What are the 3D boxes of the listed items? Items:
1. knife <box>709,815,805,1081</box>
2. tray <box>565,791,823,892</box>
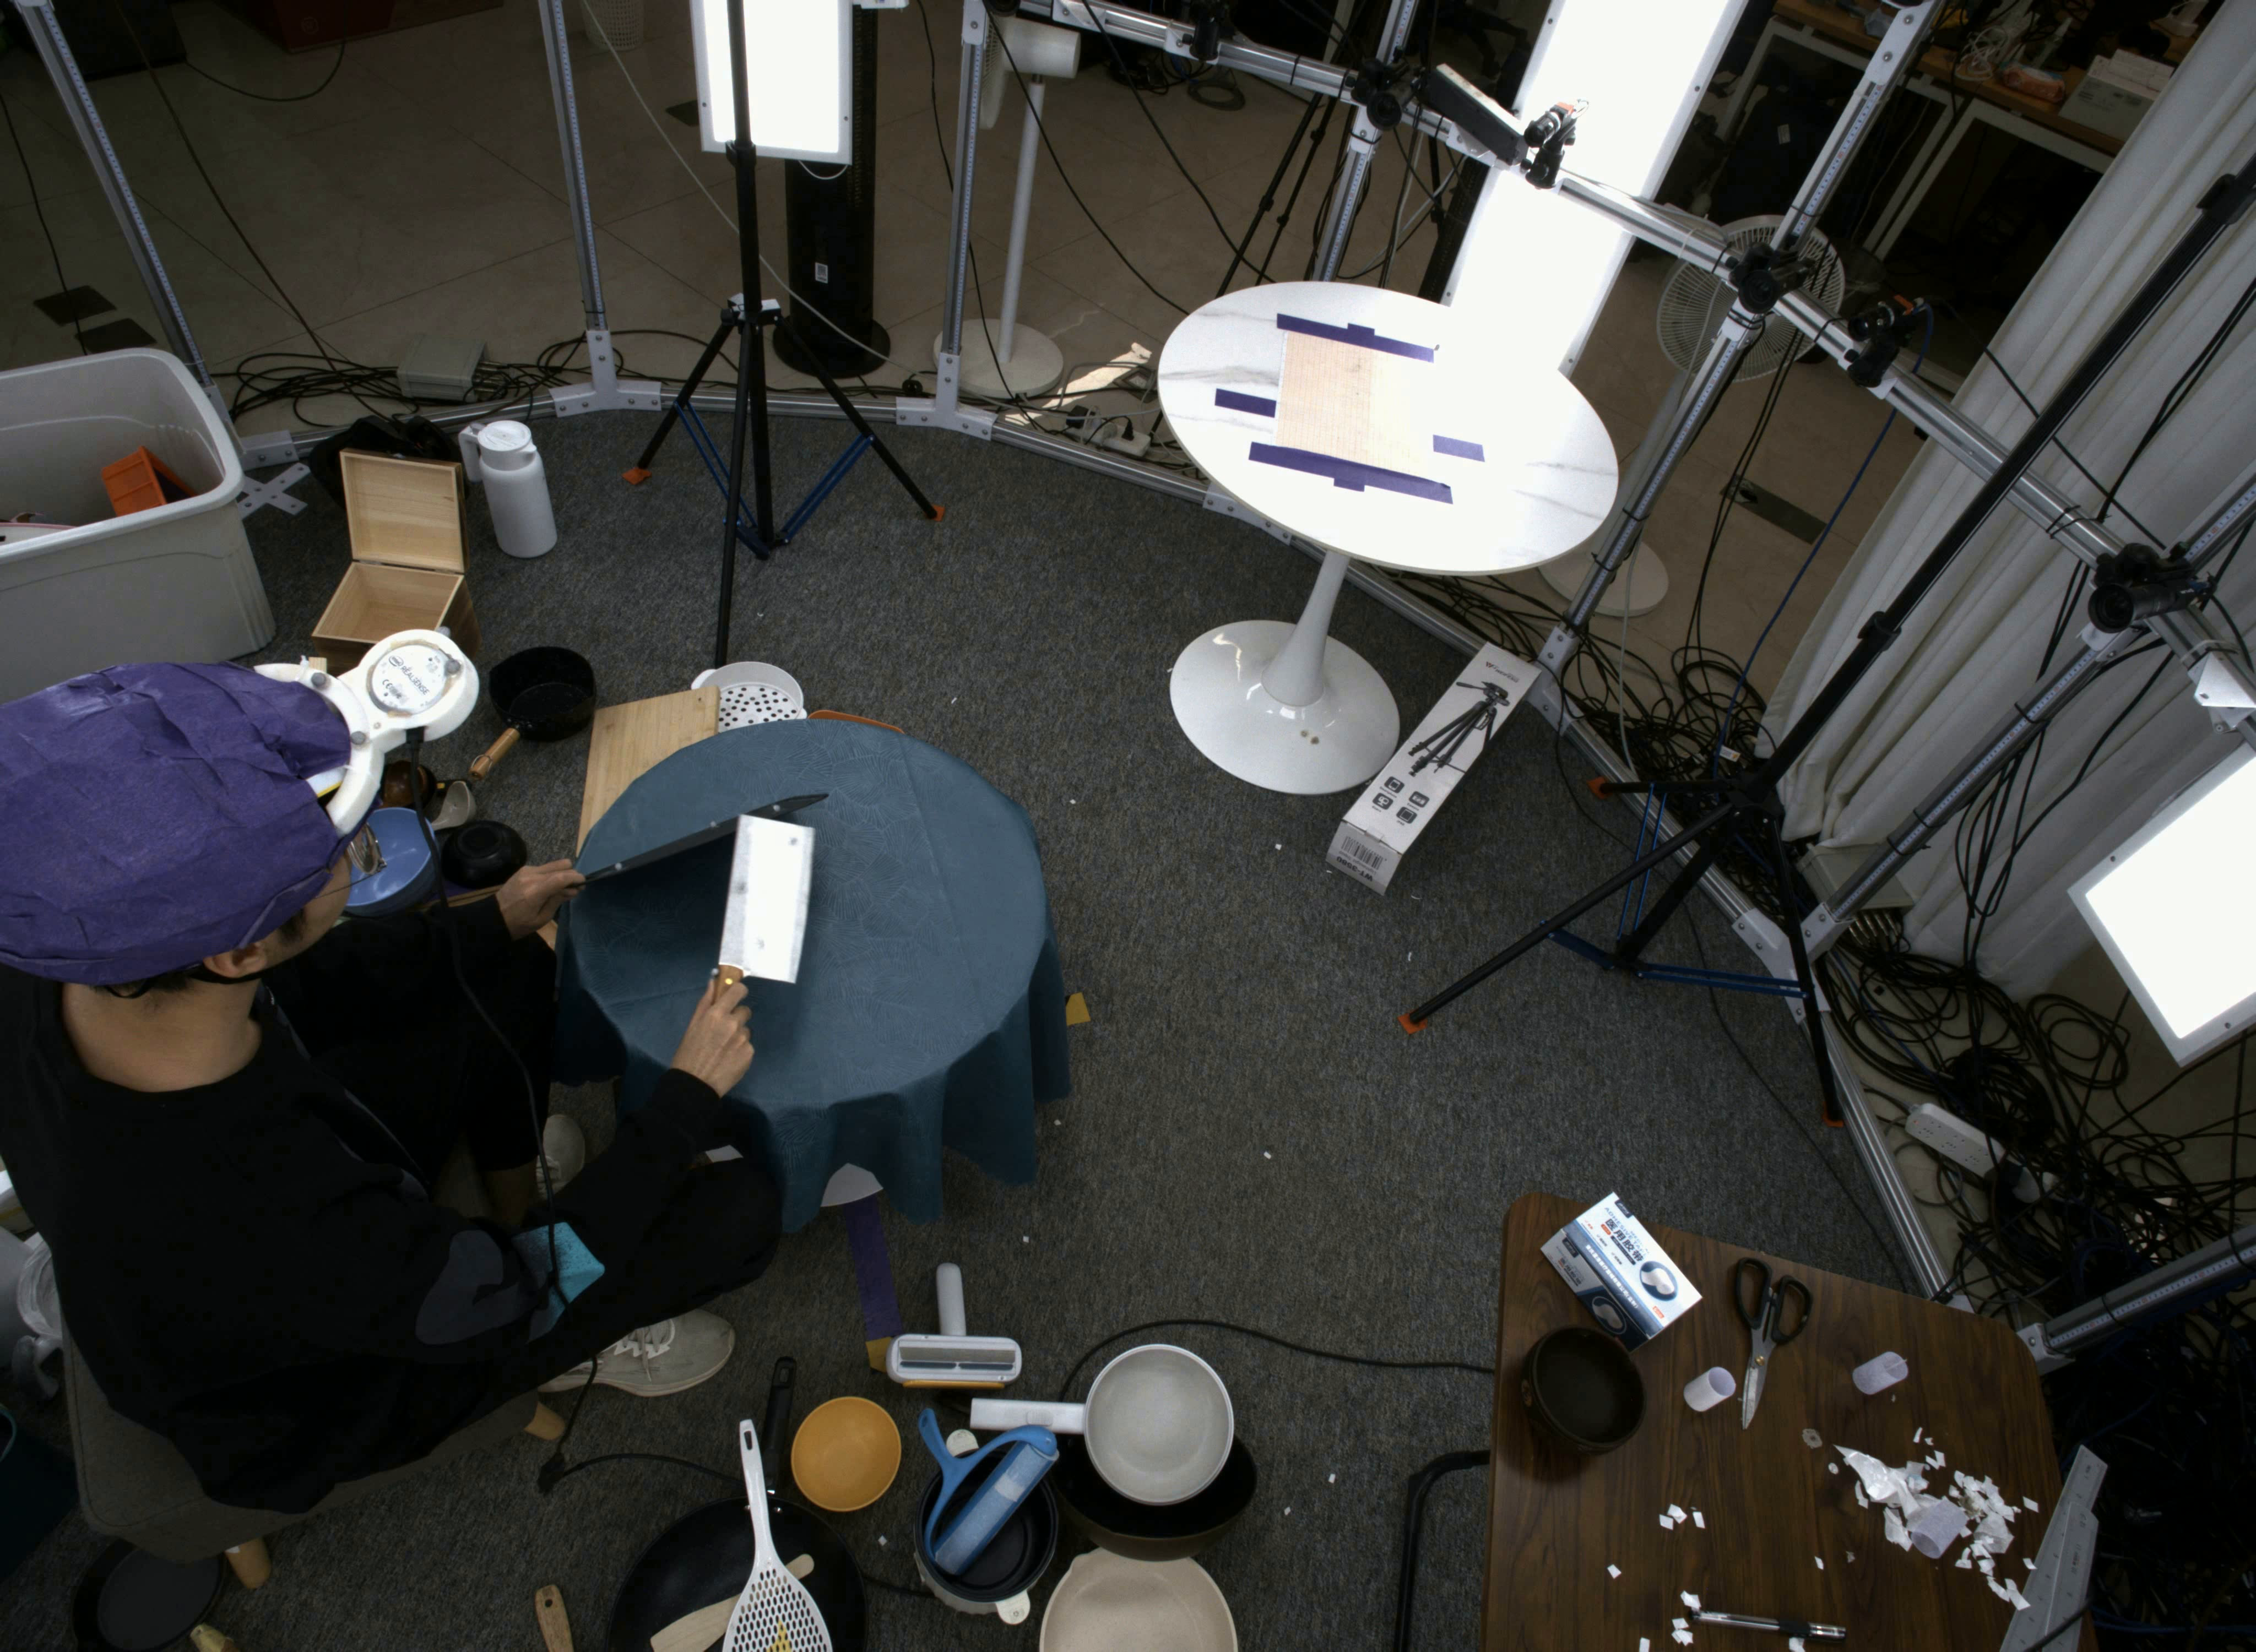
[{"bbox_3d":[-0.415,0.134,1.461,0.094,0.020,0.304,13,69,-29],"label":"knife"},{"bbox_3d":[-0.535,0.015,1.564,0.327,0.205,0.010,-23,100,-29],"label":"tray"}]
